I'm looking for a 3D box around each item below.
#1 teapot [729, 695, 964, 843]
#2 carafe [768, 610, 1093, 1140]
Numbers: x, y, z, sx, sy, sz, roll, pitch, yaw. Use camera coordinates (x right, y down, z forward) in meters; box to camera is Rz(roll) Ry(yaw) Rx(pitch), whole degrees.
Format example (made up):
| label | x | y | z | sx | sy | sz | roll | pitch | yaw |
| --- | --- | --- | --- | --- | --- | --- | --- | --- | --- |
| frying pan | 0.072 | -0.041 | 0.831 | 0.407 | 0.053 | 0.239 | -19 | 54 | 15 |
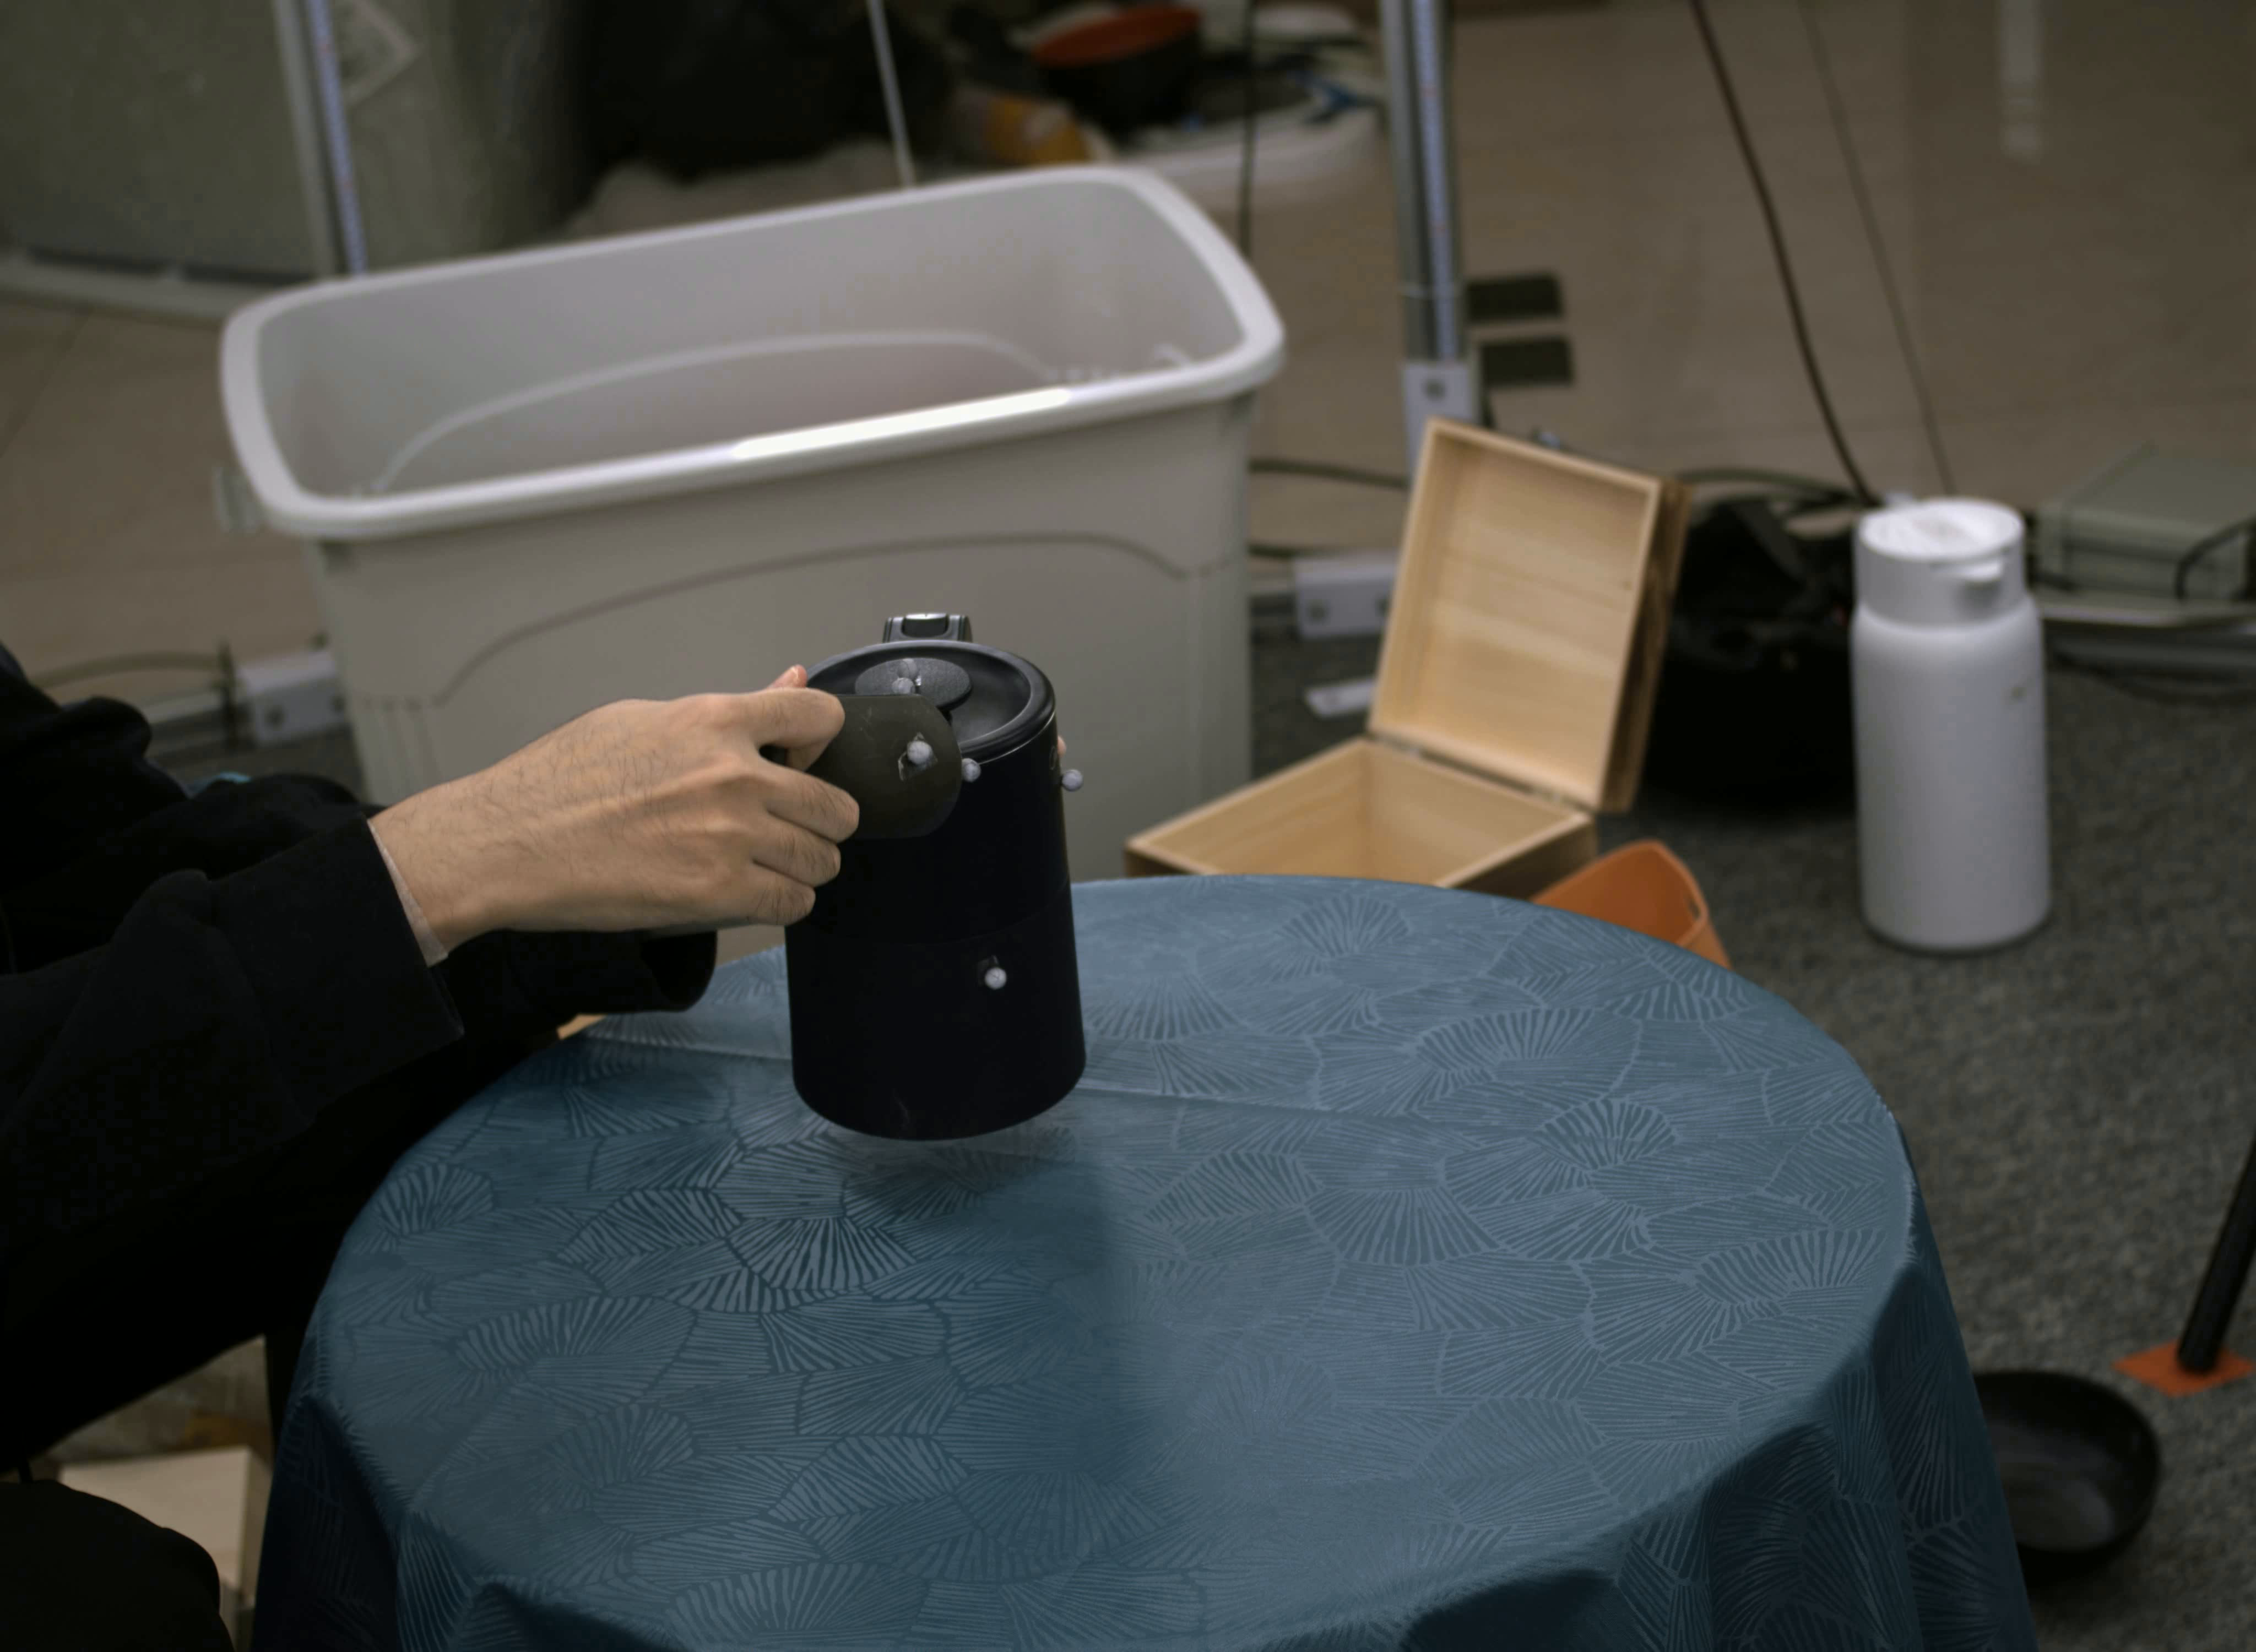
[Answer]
| label | x | y | z | sx | sy | sz | roll | pitch | yaw |
| --- | --- | --- | --- | --- | --- | --- | --- | --- | --- |
| teapot | -0.104 | -0.021 | 1.987 | 0.083 | 0.053 | 0.114 | 0 | 0 | 26 |
| carafe | -0.077 | 0.009 | 2.171 | 0.114 | 0.176 | 0.169 | -4 | 30 | 3 |
